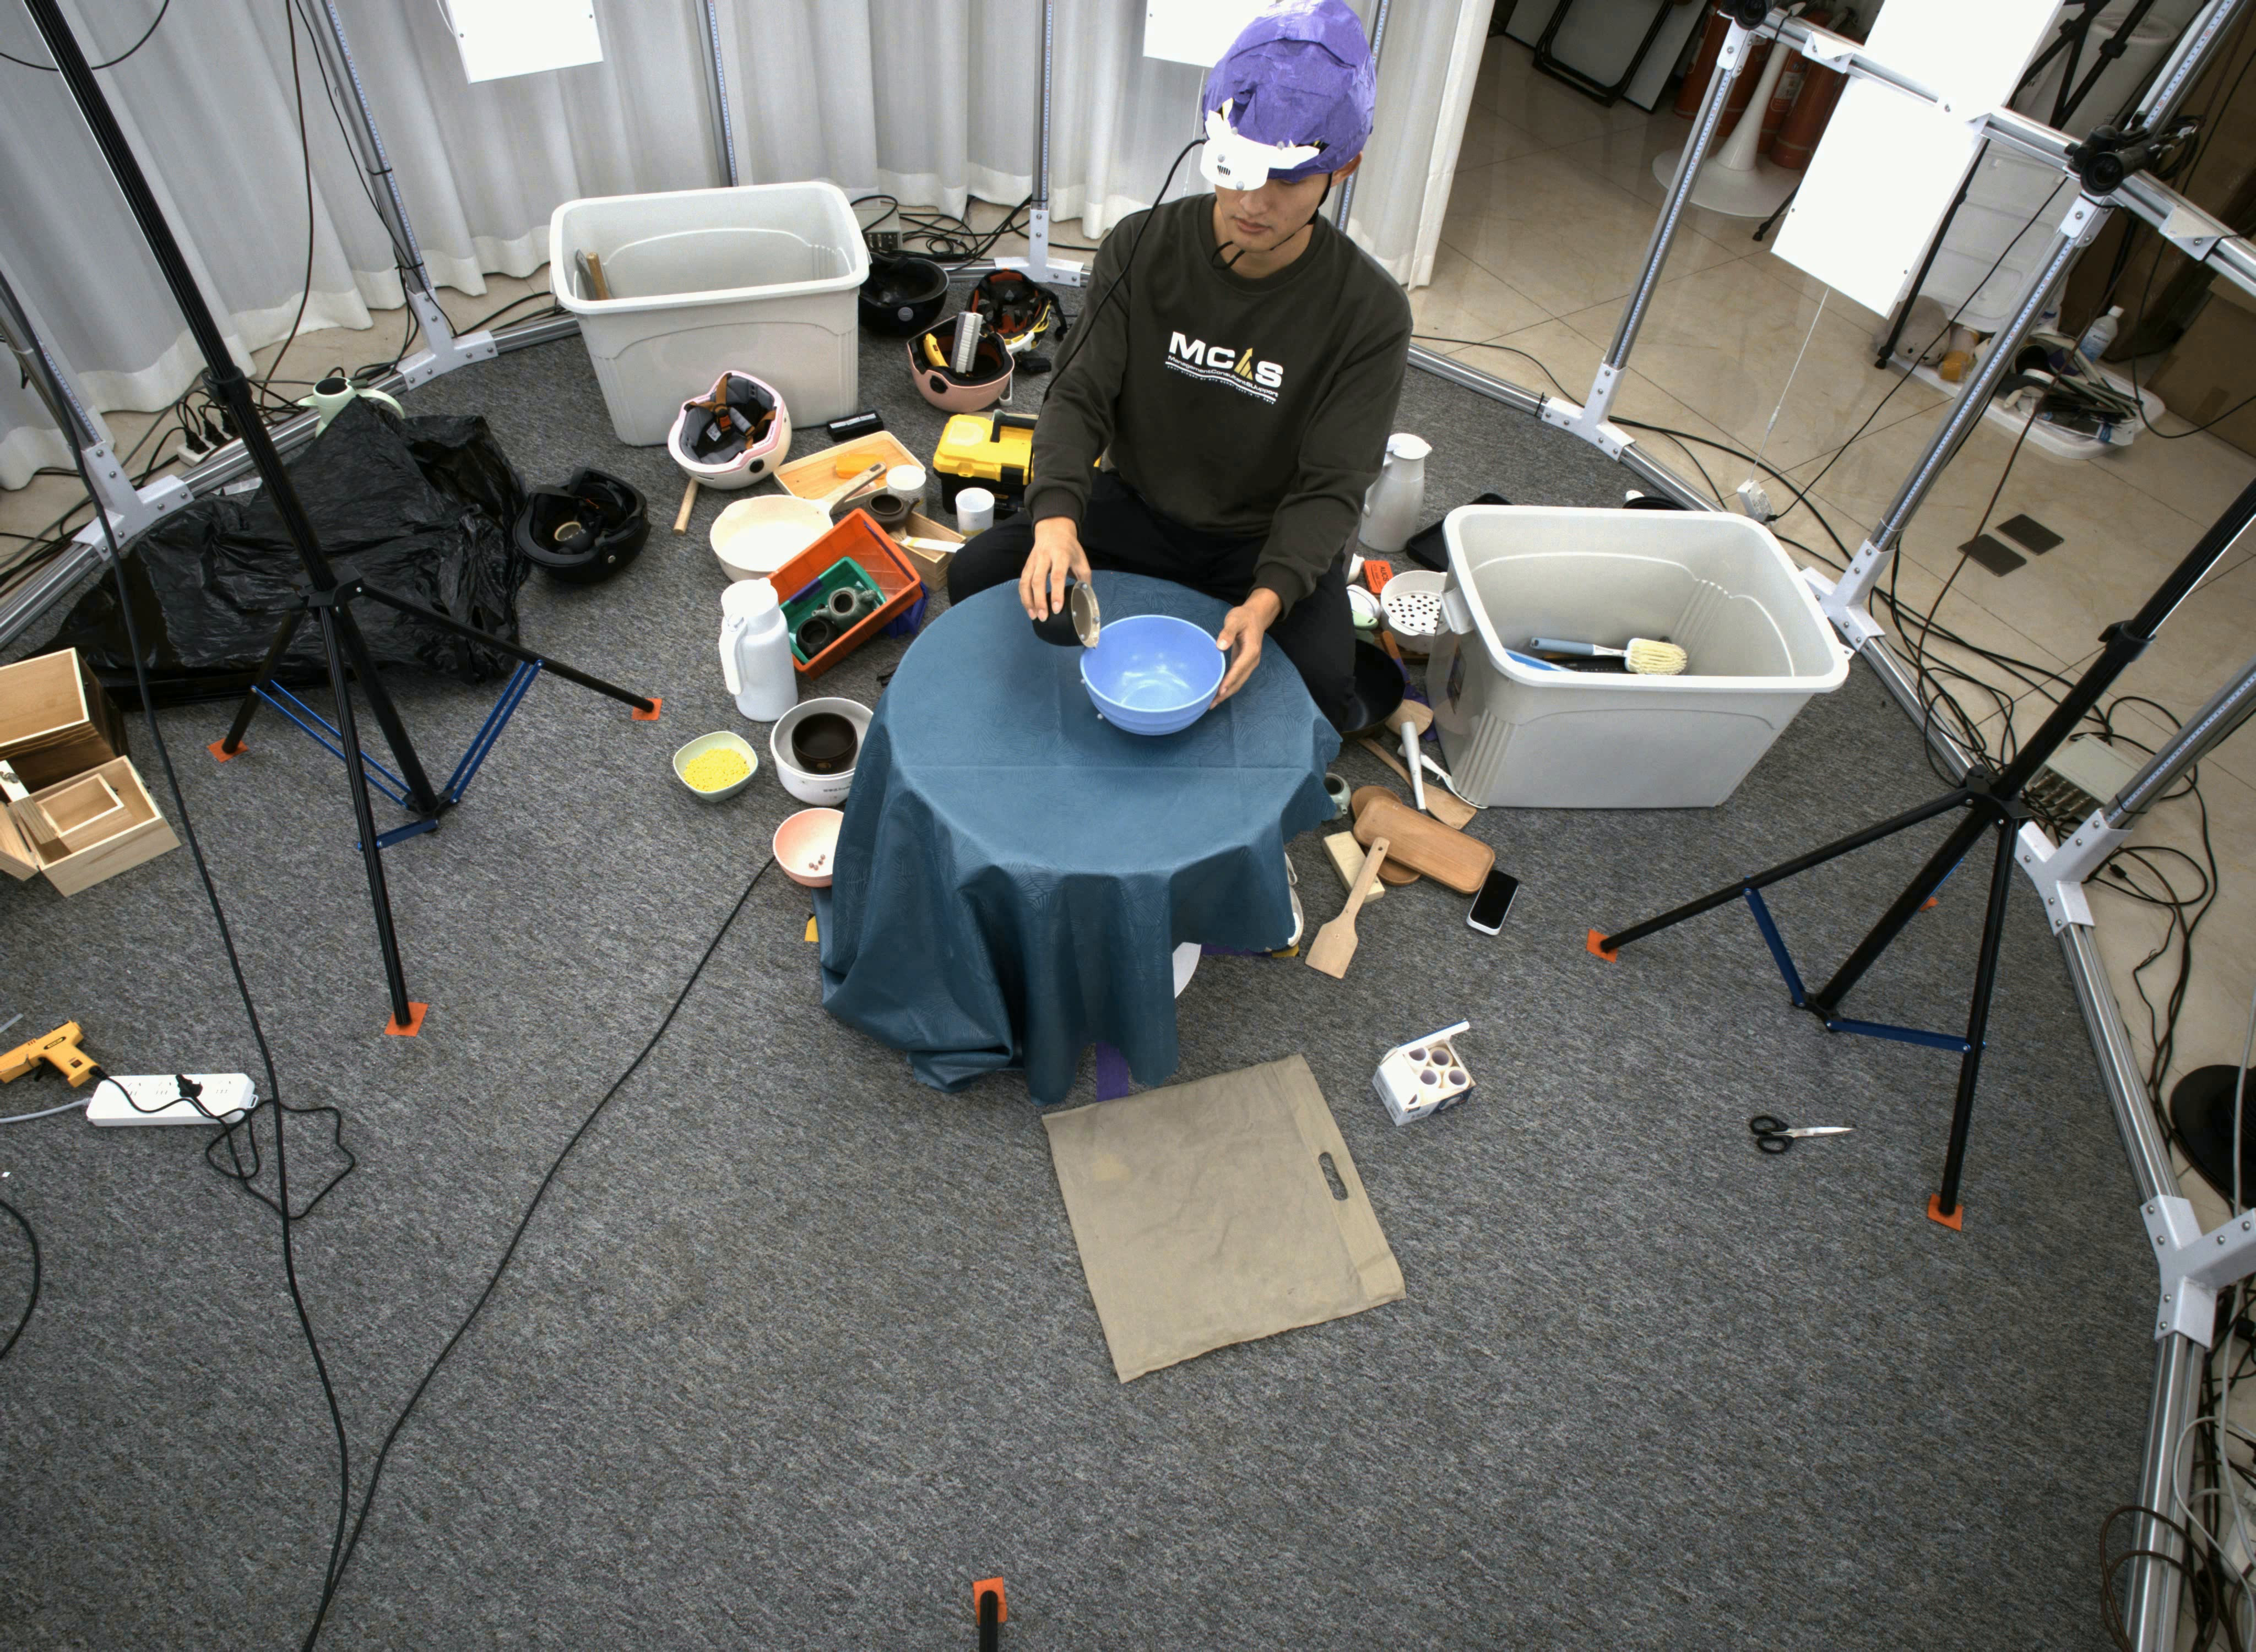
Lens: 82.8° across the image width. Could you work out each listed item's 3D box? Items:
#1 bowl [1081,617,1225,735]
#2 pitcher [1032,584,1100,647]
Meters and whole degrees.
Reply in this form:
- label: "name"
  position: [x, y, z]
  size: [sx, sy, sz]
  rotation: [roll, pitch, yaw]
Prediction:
- label: "bowl"
  position: [0.033, -0.192, 1.771]
  size: [0.196, 0.093, 0.201]
  rotation: [1, 46, -1]
- label: "pitcher"
  position: [-0.086, -0.281, 1.752]
  size: [0.071, 0.094, 0.085]
  rotation: [-6, 37, 22]
